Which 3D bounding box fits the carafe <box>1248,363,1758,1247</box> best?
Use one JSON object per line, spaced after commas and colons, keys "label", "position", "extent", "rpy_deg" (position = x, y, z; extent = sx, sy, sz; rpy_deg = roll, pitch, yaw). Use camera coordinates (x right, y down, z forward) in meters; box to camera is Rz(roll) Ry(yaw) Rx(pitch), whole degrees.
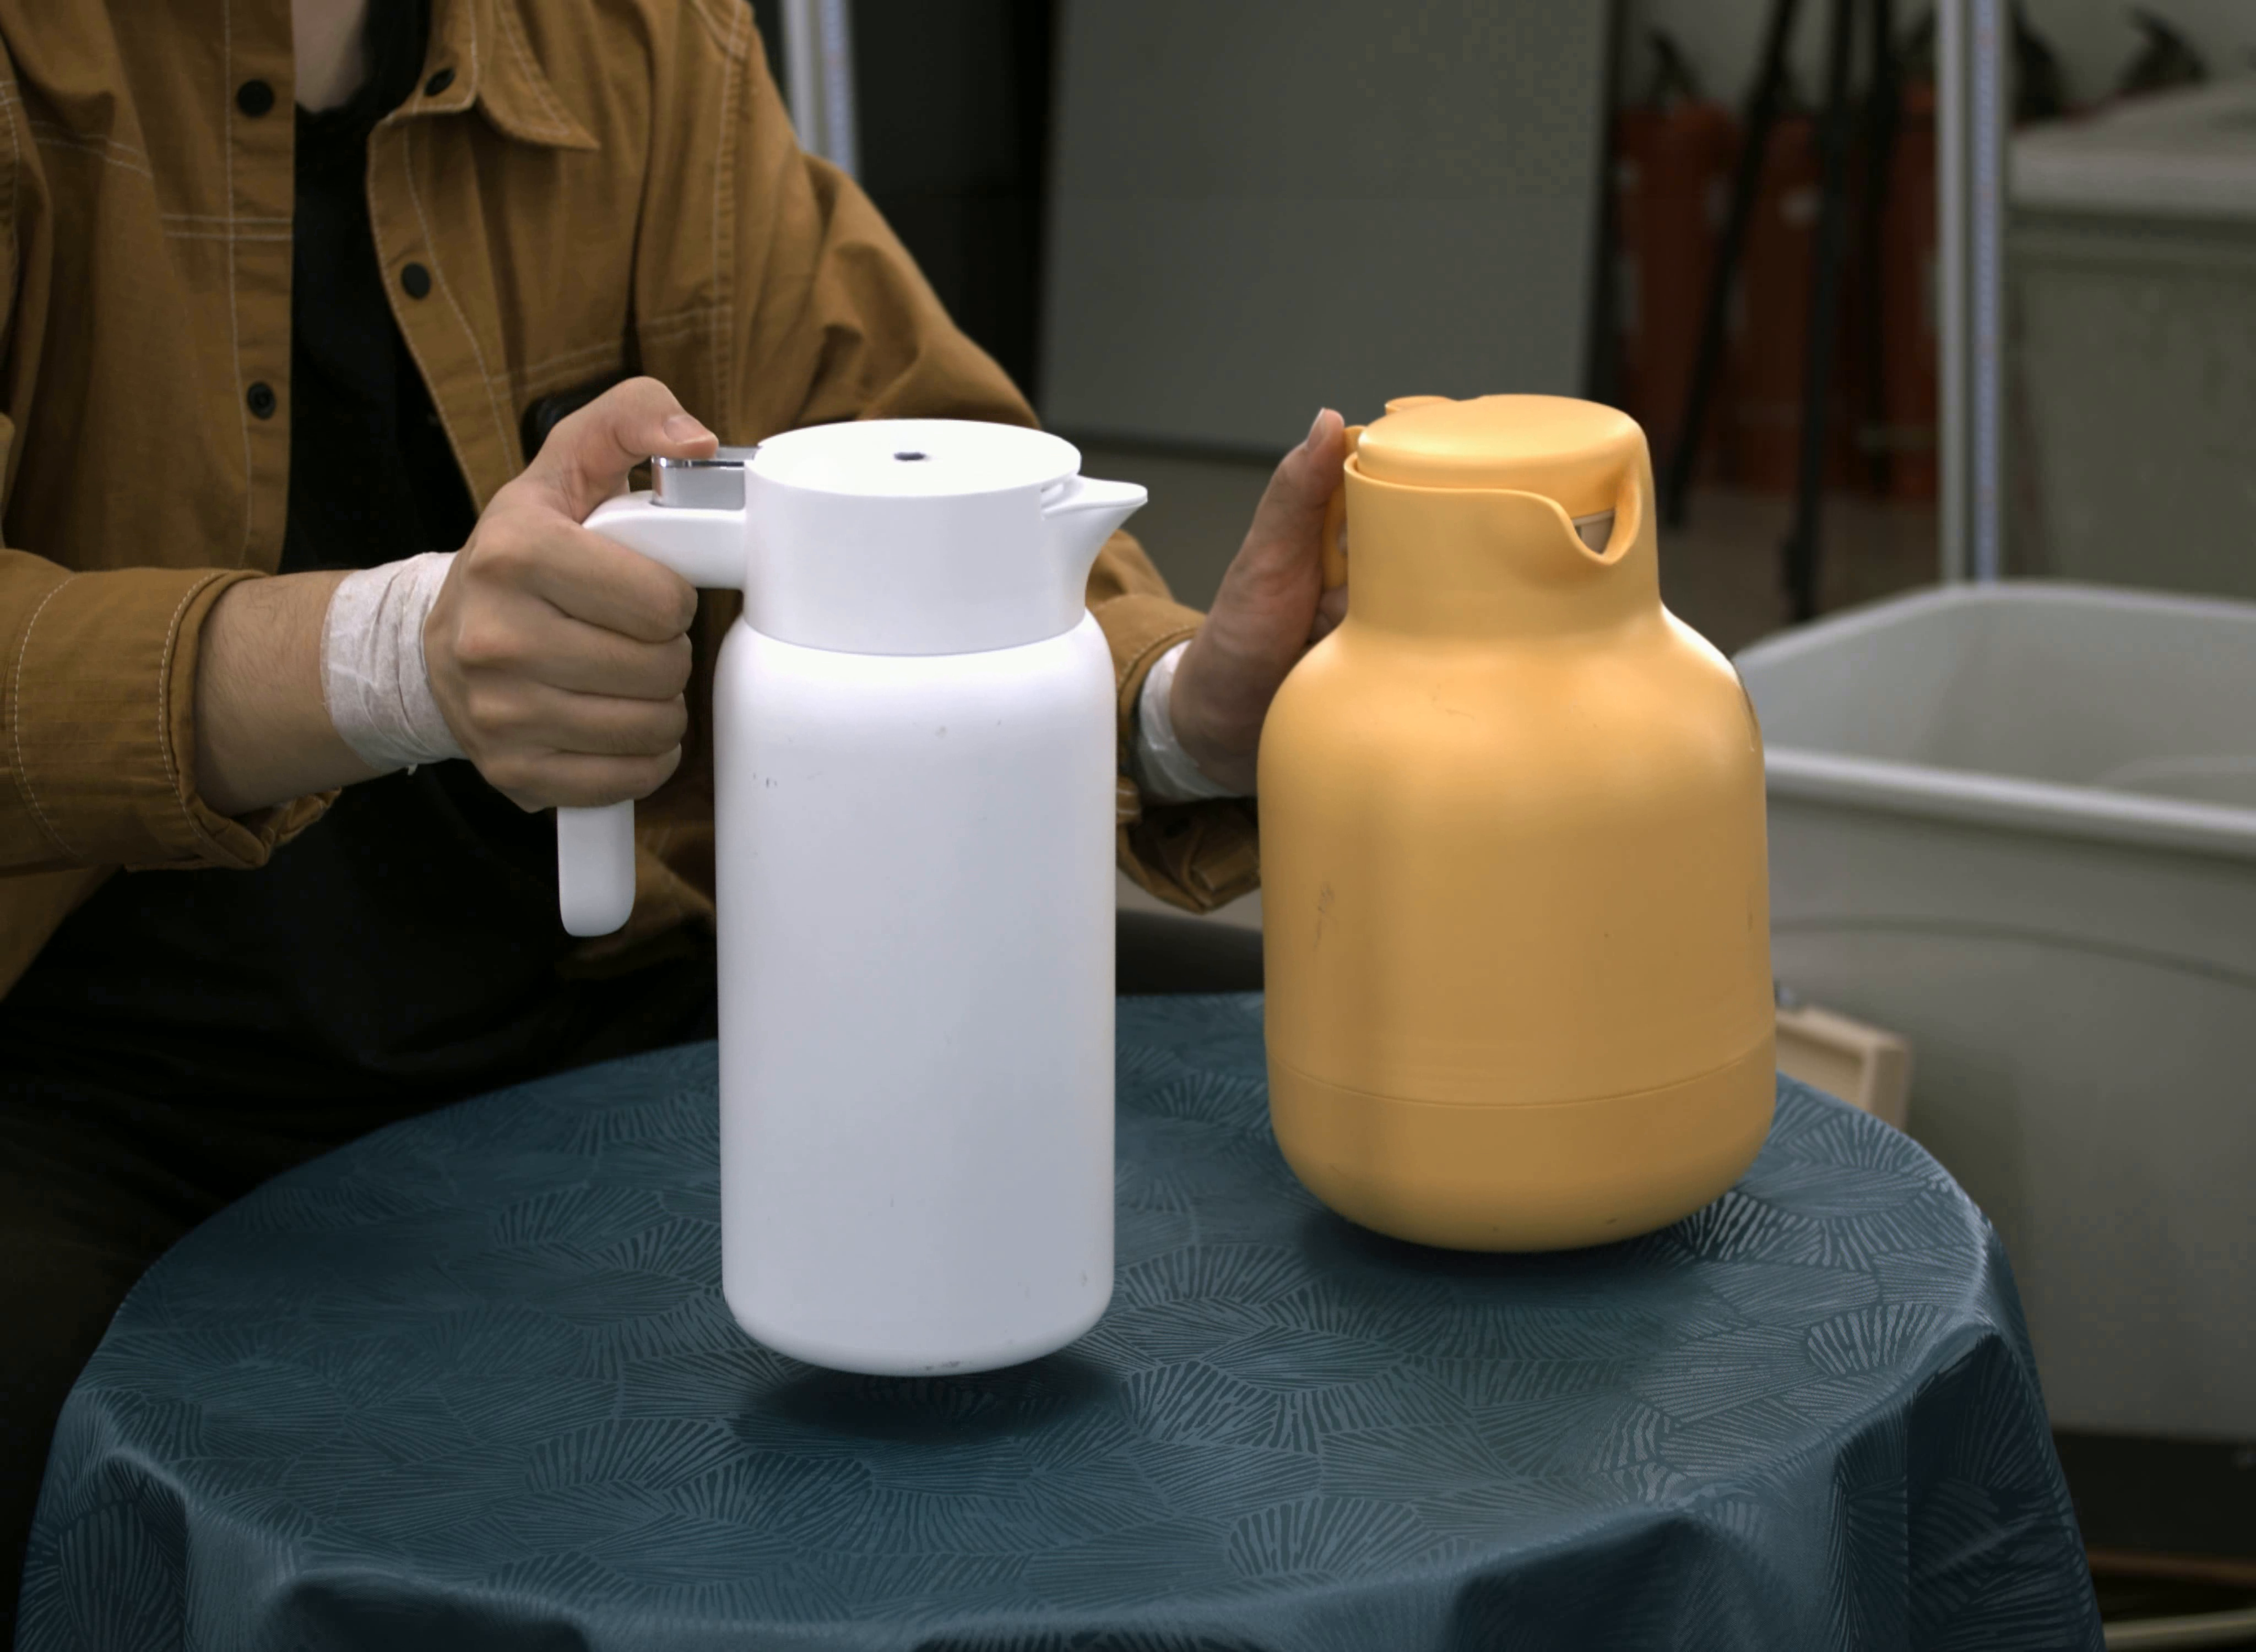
{"label": "carafe", "position": [0.112, -0.015, 1.705], "extent": [0.160, 0.263, 0.204], "rpy_deg": [-6, 16, -18]}

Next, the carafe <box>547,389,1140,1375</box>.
{"label": "carafe", "position": [-0.081, 0.016, 1.568], "extent": [0.171, 0.272, 0.123], "rpy_deg": [1, 18, 6]}
